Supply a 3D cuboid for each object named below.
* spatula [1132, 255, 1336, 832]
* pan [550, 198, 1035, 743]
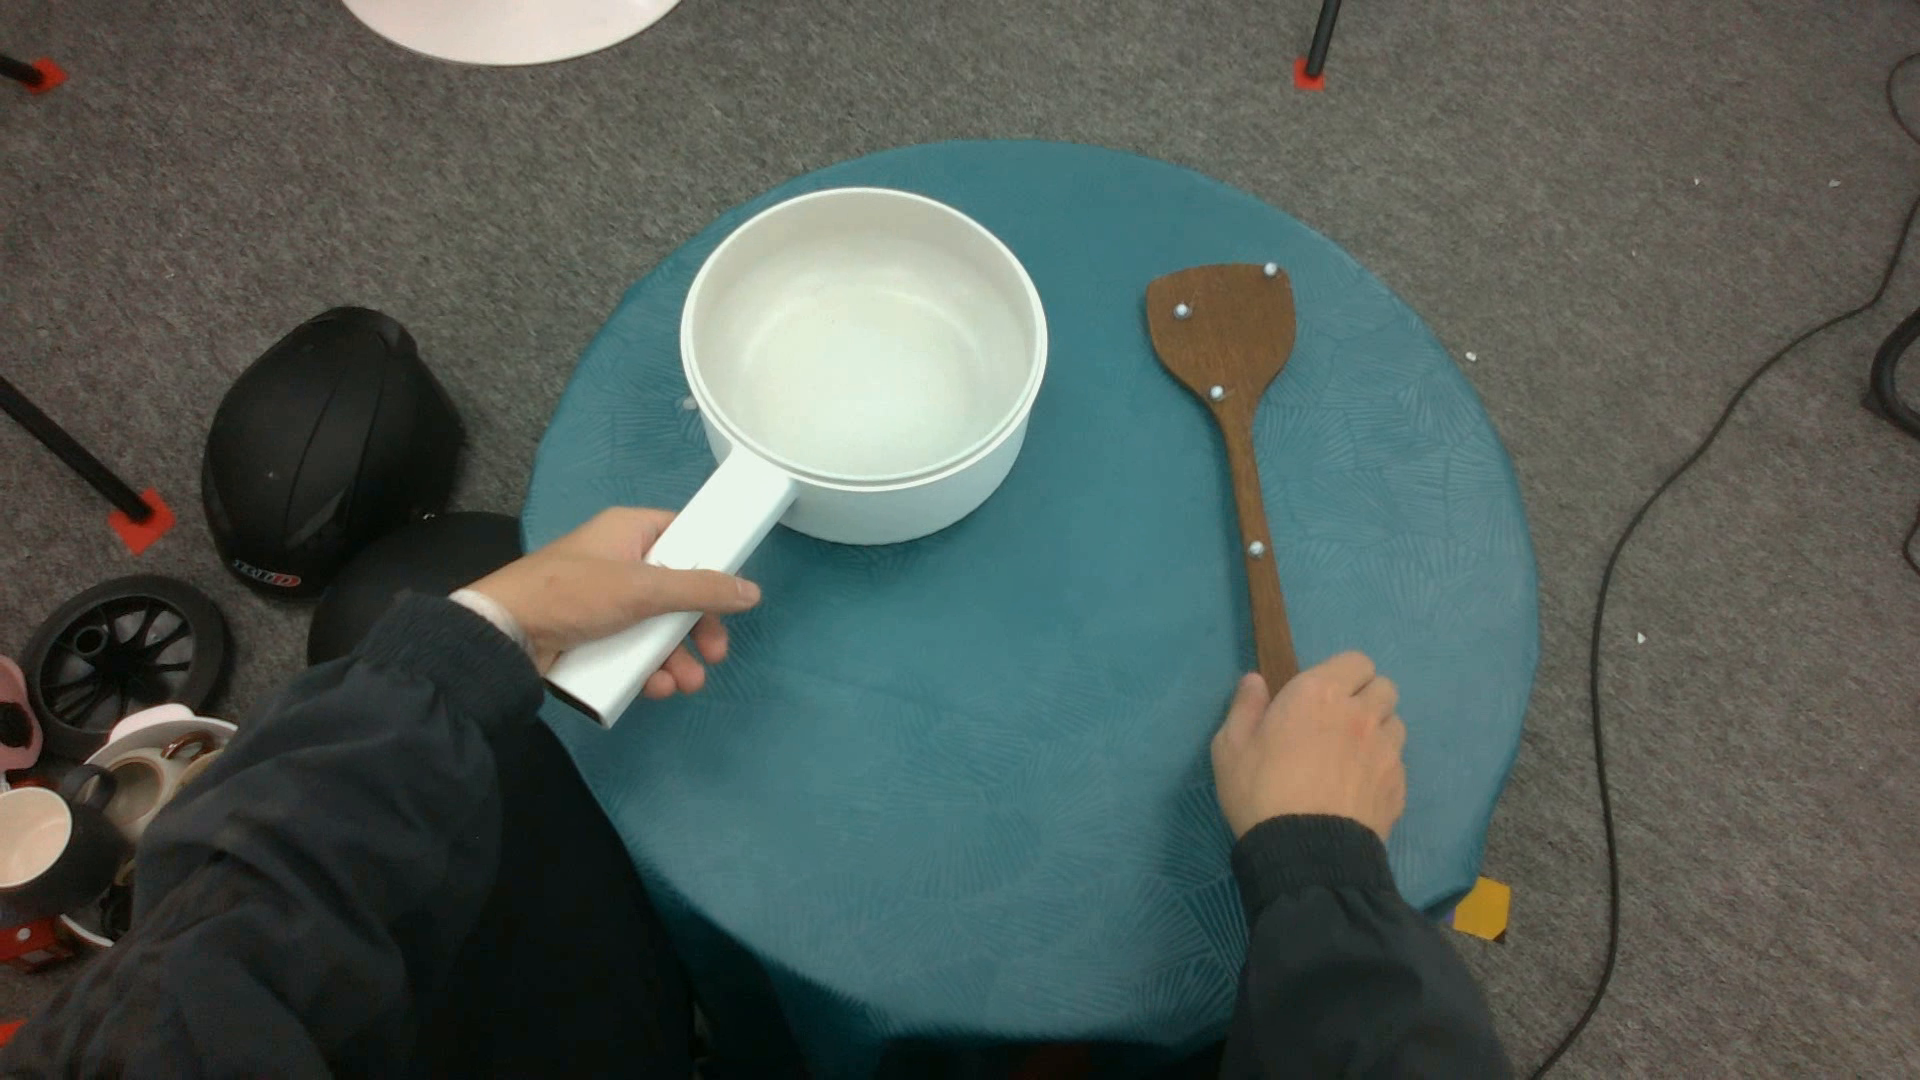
[{"bbox_3d":[0.173,-0.016,0.820,0.096,0.016,0.387,-8,61,6],"label":"spatula"},{"bbox_3d":[-0.098,-0.033,0.781,0.201,0.101,0.356,28,66,10],"label":"pan"}]
